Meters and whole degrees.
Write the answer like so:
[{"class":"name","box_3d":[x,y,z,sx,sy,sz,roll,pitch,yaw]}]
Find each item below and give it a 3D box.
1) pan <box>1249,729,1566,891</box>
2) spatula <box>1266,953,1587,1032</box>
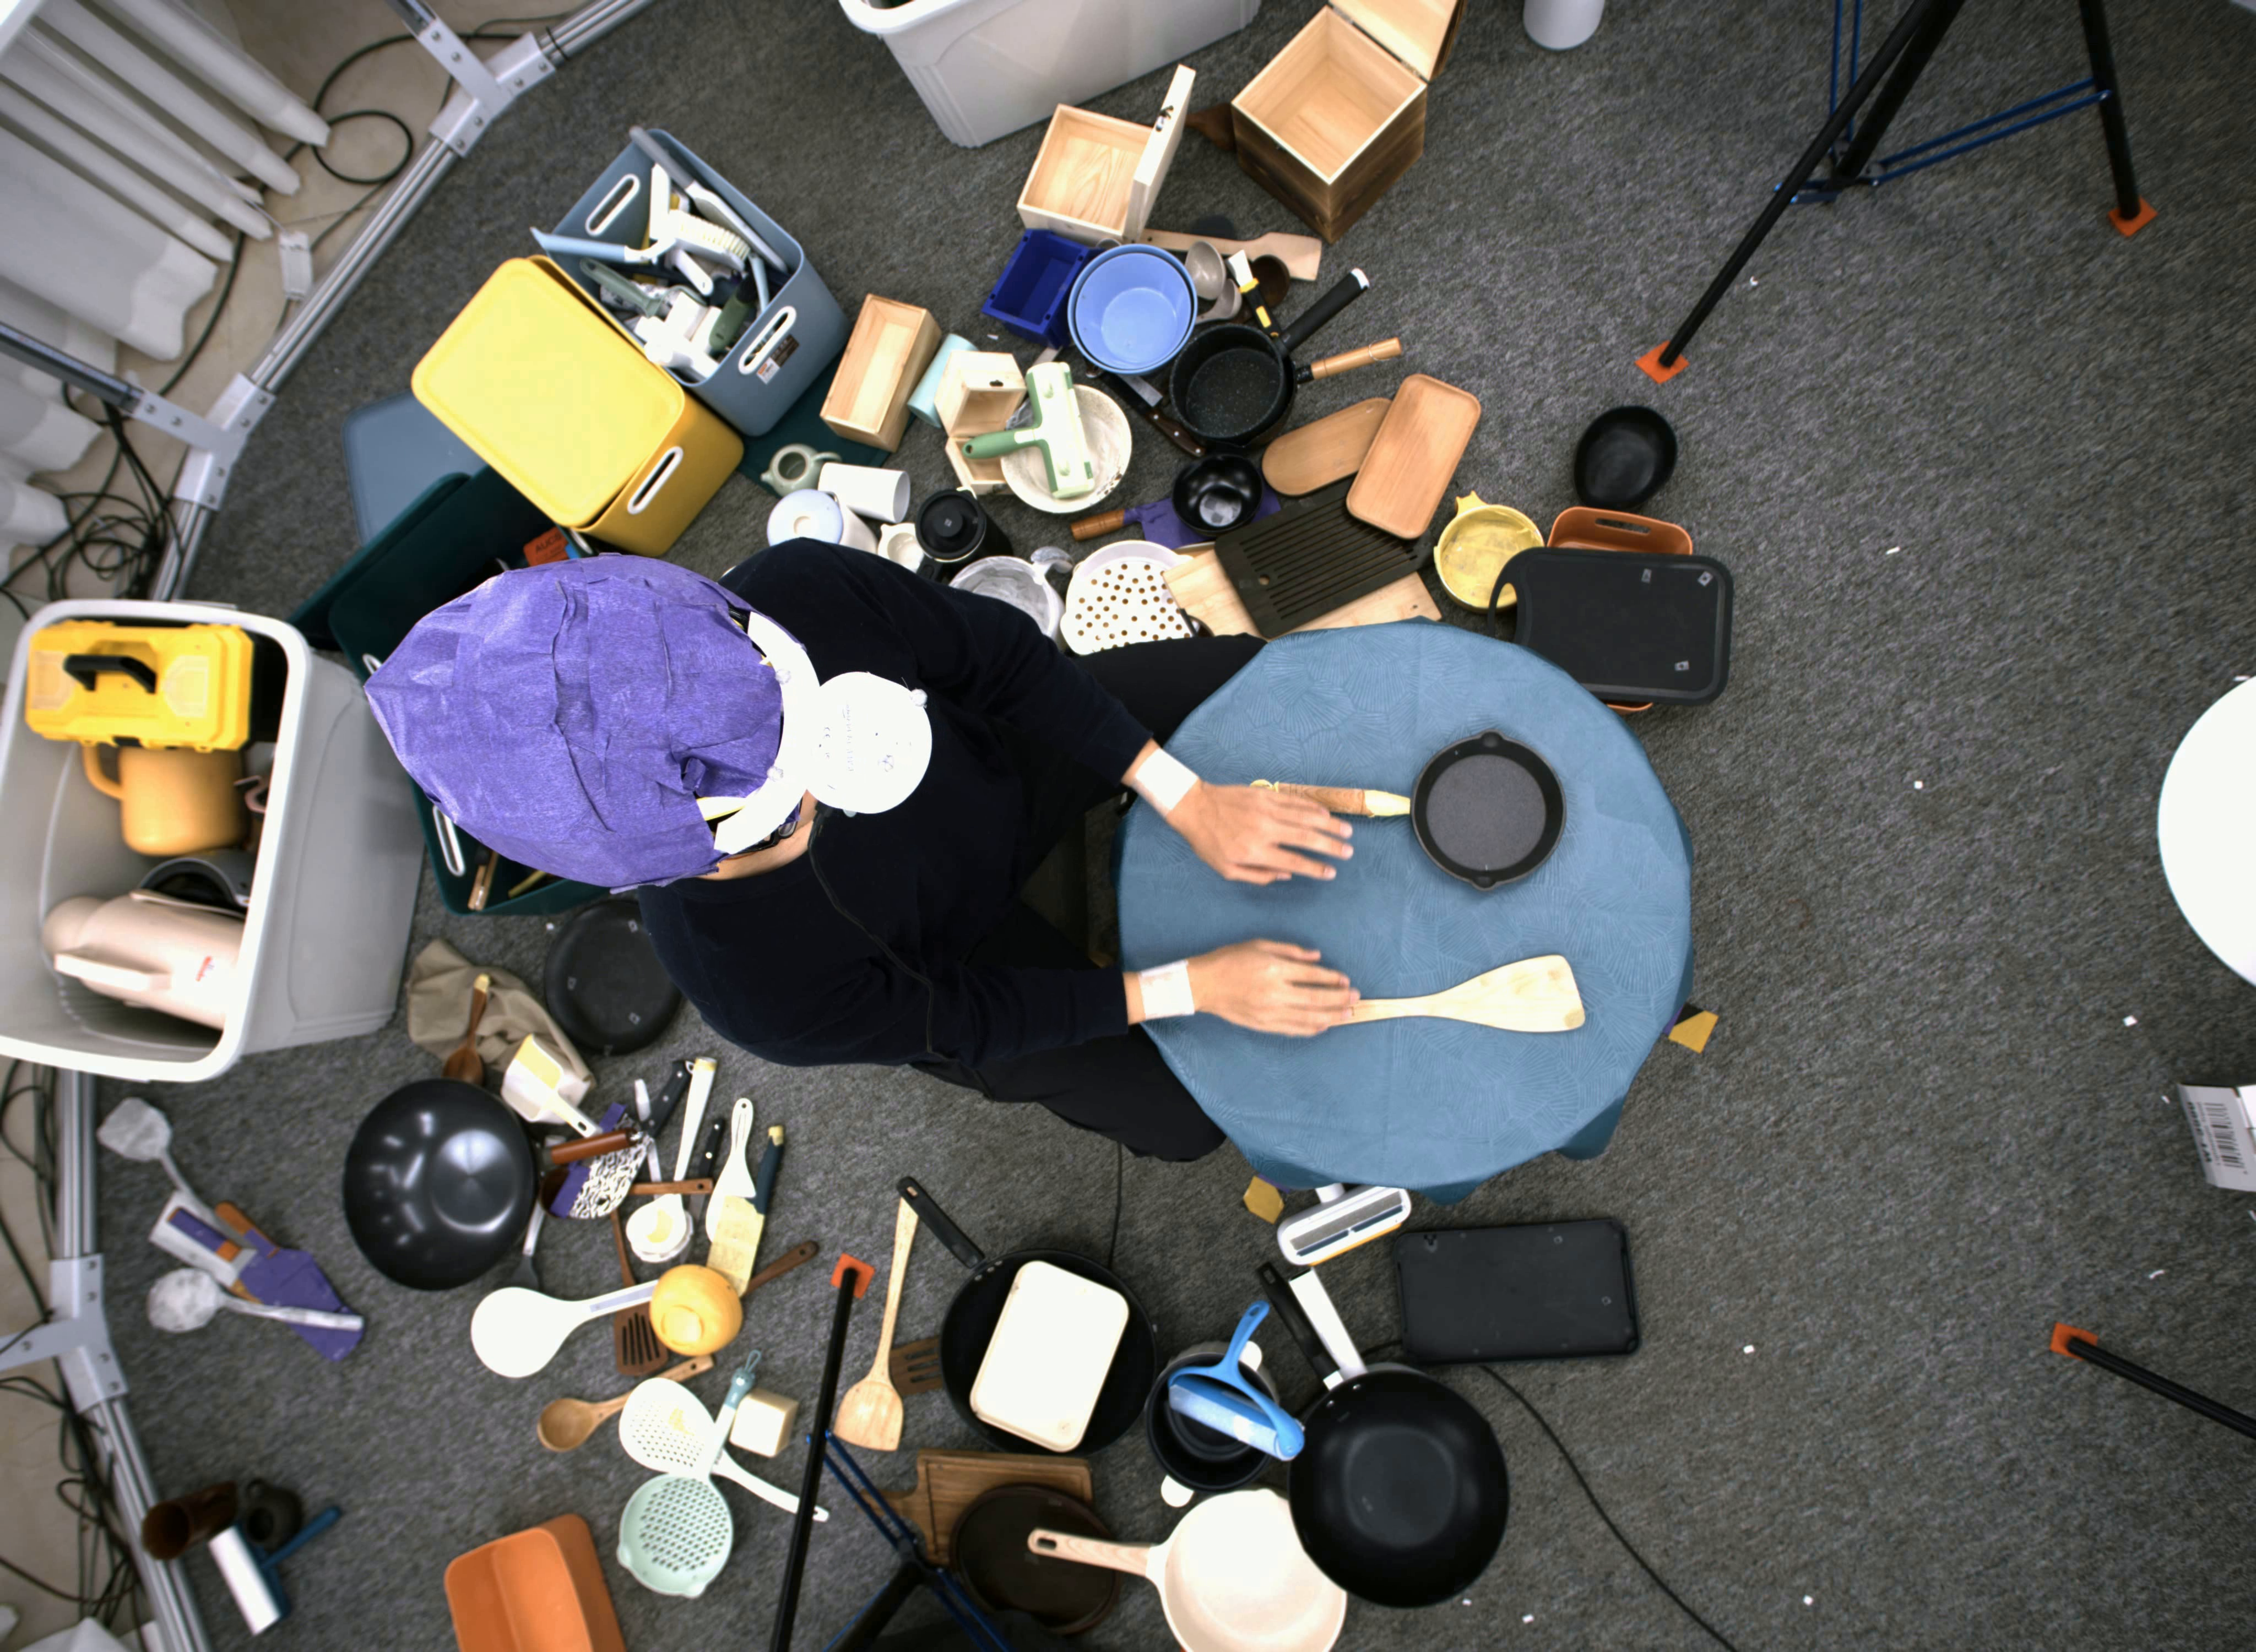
[{"class":"pan","box_3d":[0.289,-0.026,1.436,0.325,0.049,0.168,6,88,9]},{"class":"spatula","box_3d":[0.306,0.184,1.439,0.329,0.016,0.079,-7,85,10]}]
